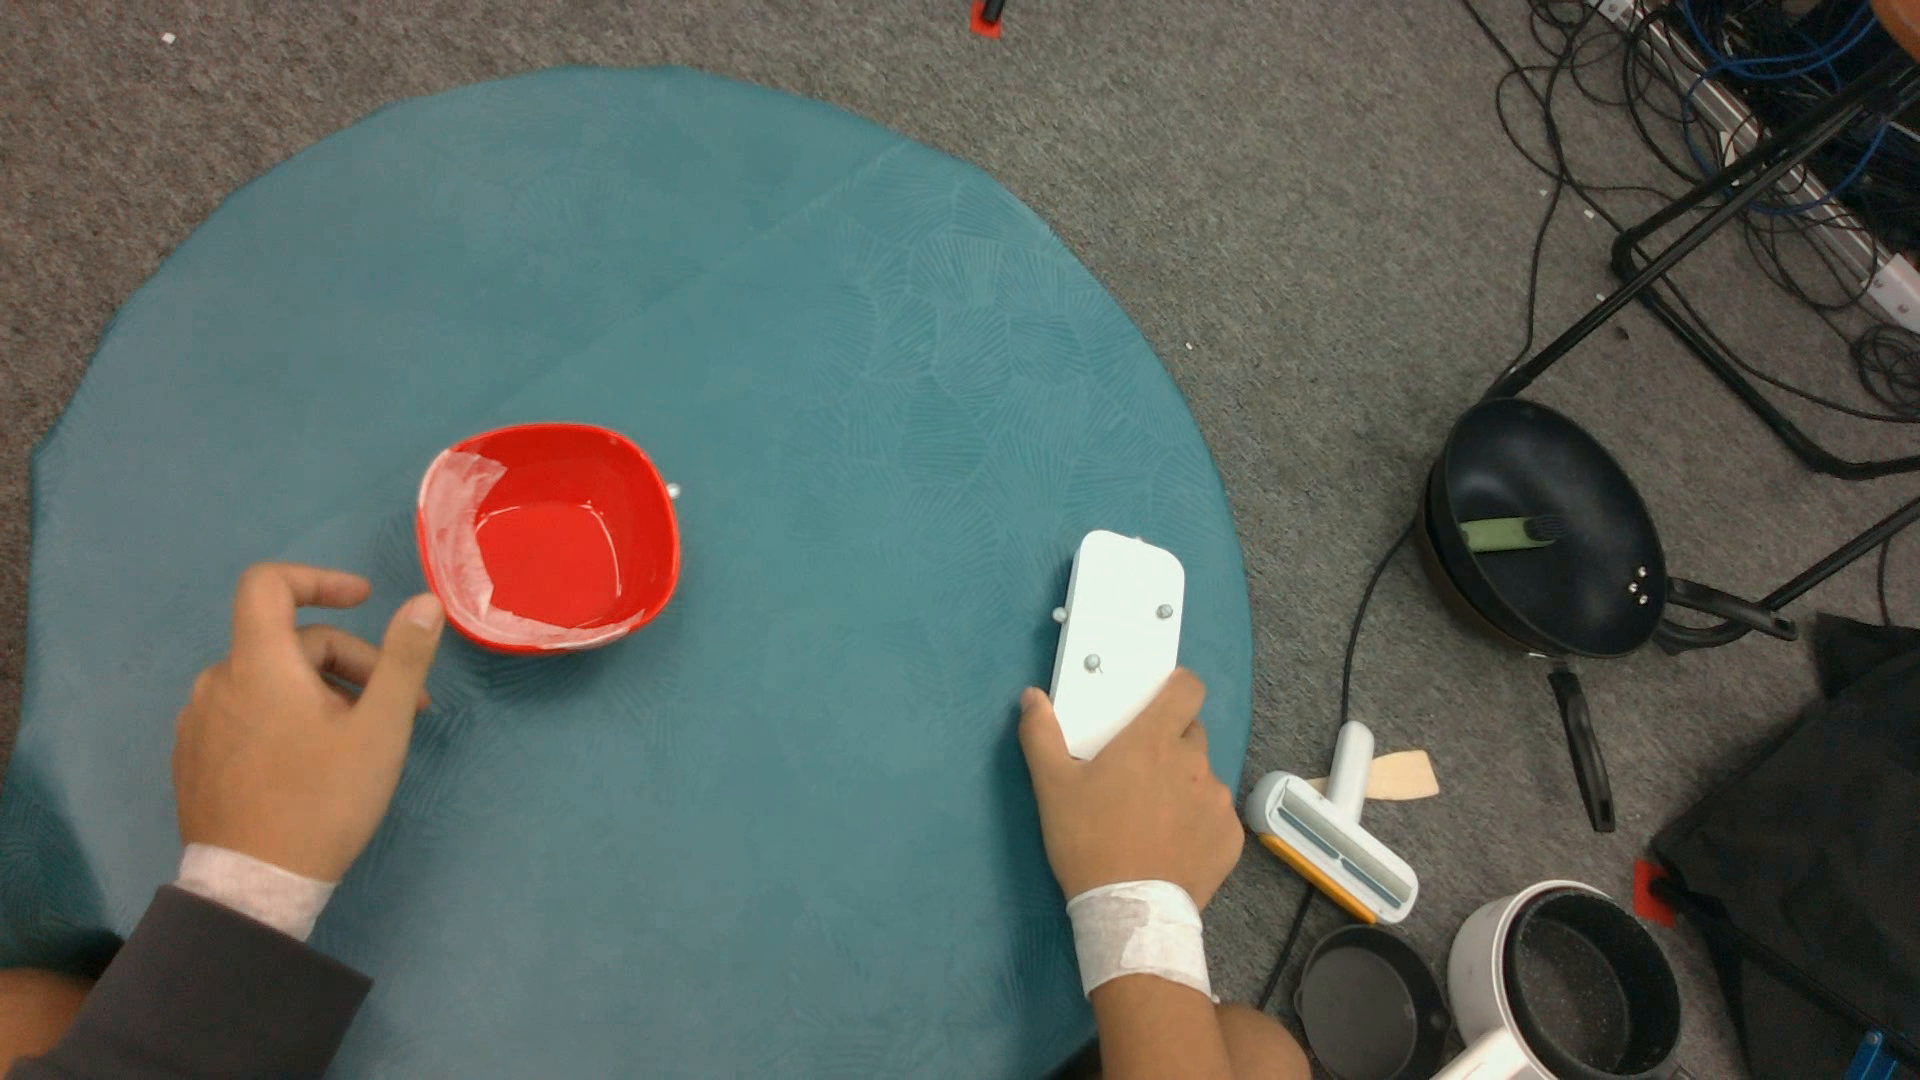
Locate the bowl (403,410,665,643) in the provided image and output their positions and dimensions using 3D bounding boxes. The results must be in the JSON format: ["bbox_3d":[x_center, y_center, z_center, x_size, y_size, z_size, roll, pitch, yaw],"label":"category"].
[{"bbox_3d":[-0.196,0.000,0.635,0.119,0.051,0.119,9,64,-19],"label":"bowl"}]

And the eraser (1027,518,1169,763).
[{"bbox_3d":[0.072,0.051,0.726,0.063,0.034,0.132,18,59,-8],"label":"eraser"}]
